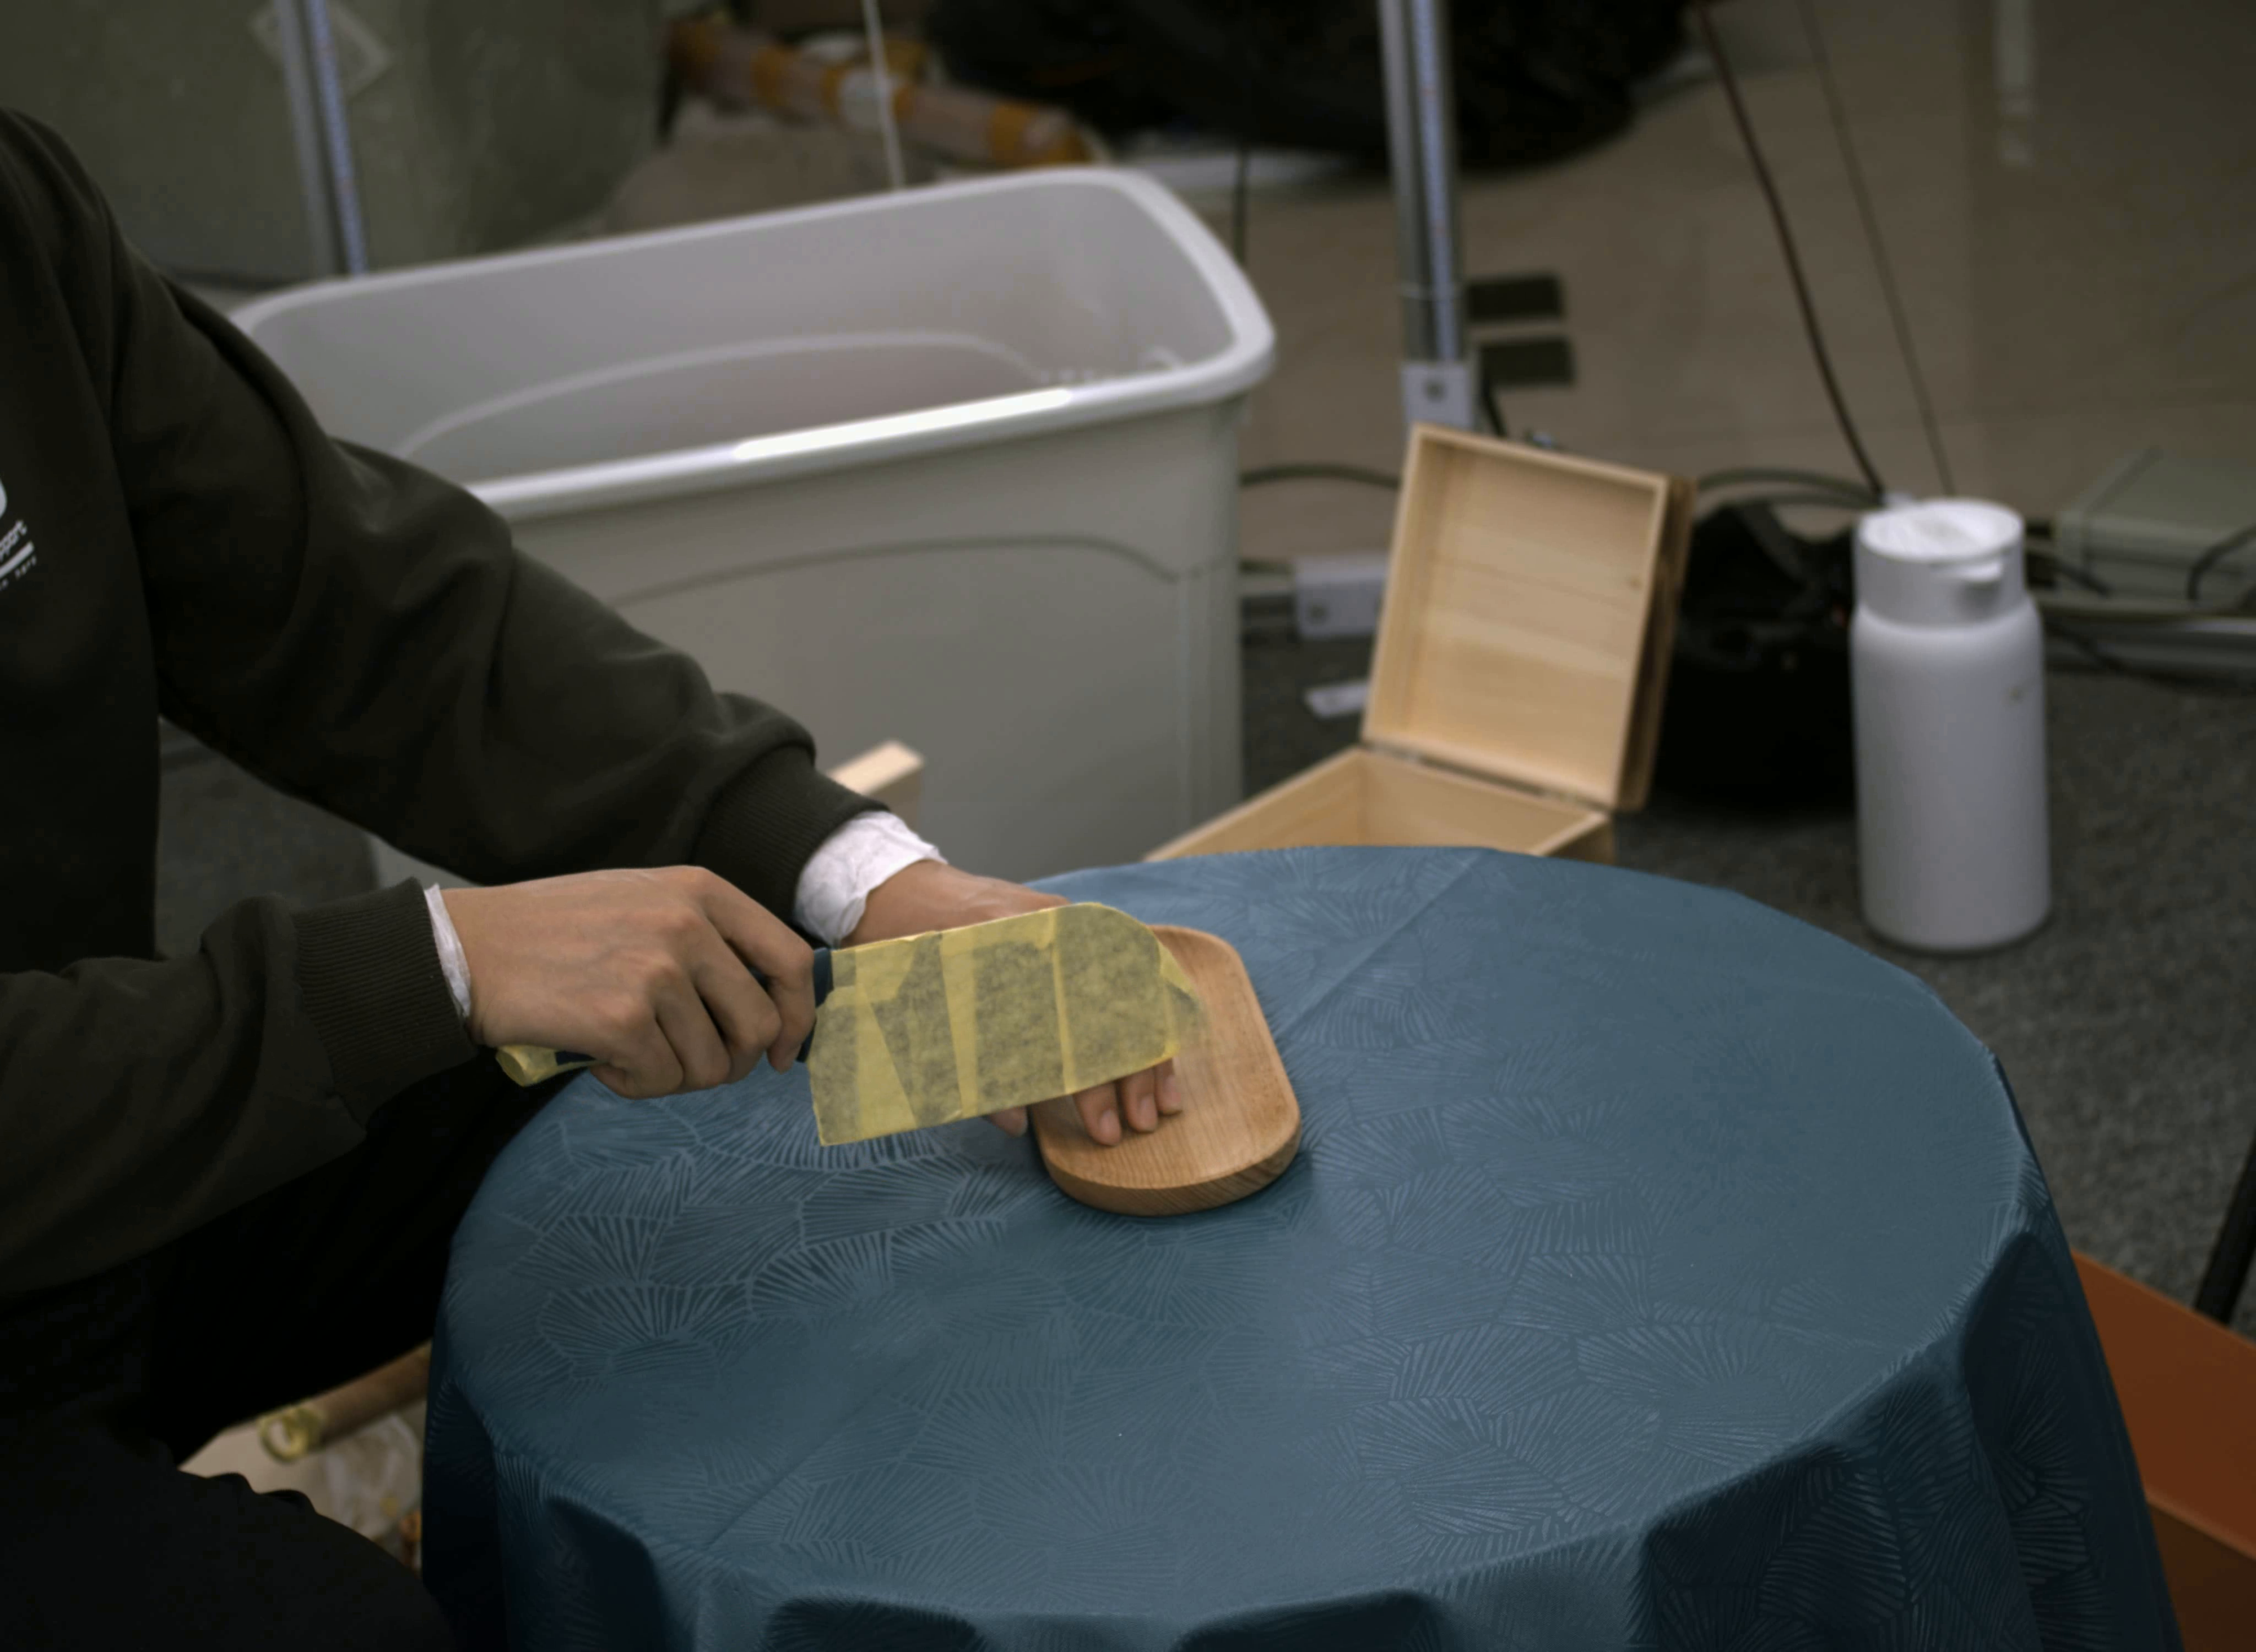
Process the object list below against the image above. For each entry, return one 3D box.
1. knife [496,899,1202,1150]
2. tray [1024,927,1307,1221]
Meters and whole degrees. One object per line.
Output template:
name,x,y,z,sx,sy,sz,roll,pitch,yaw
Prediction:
knife,-0.099,0.079,2.112,0.289,0.081,0.027,-7,8,-27
tray,0.009,0.095,2.225,0.101,0.020,0.228,-11,27,-4
